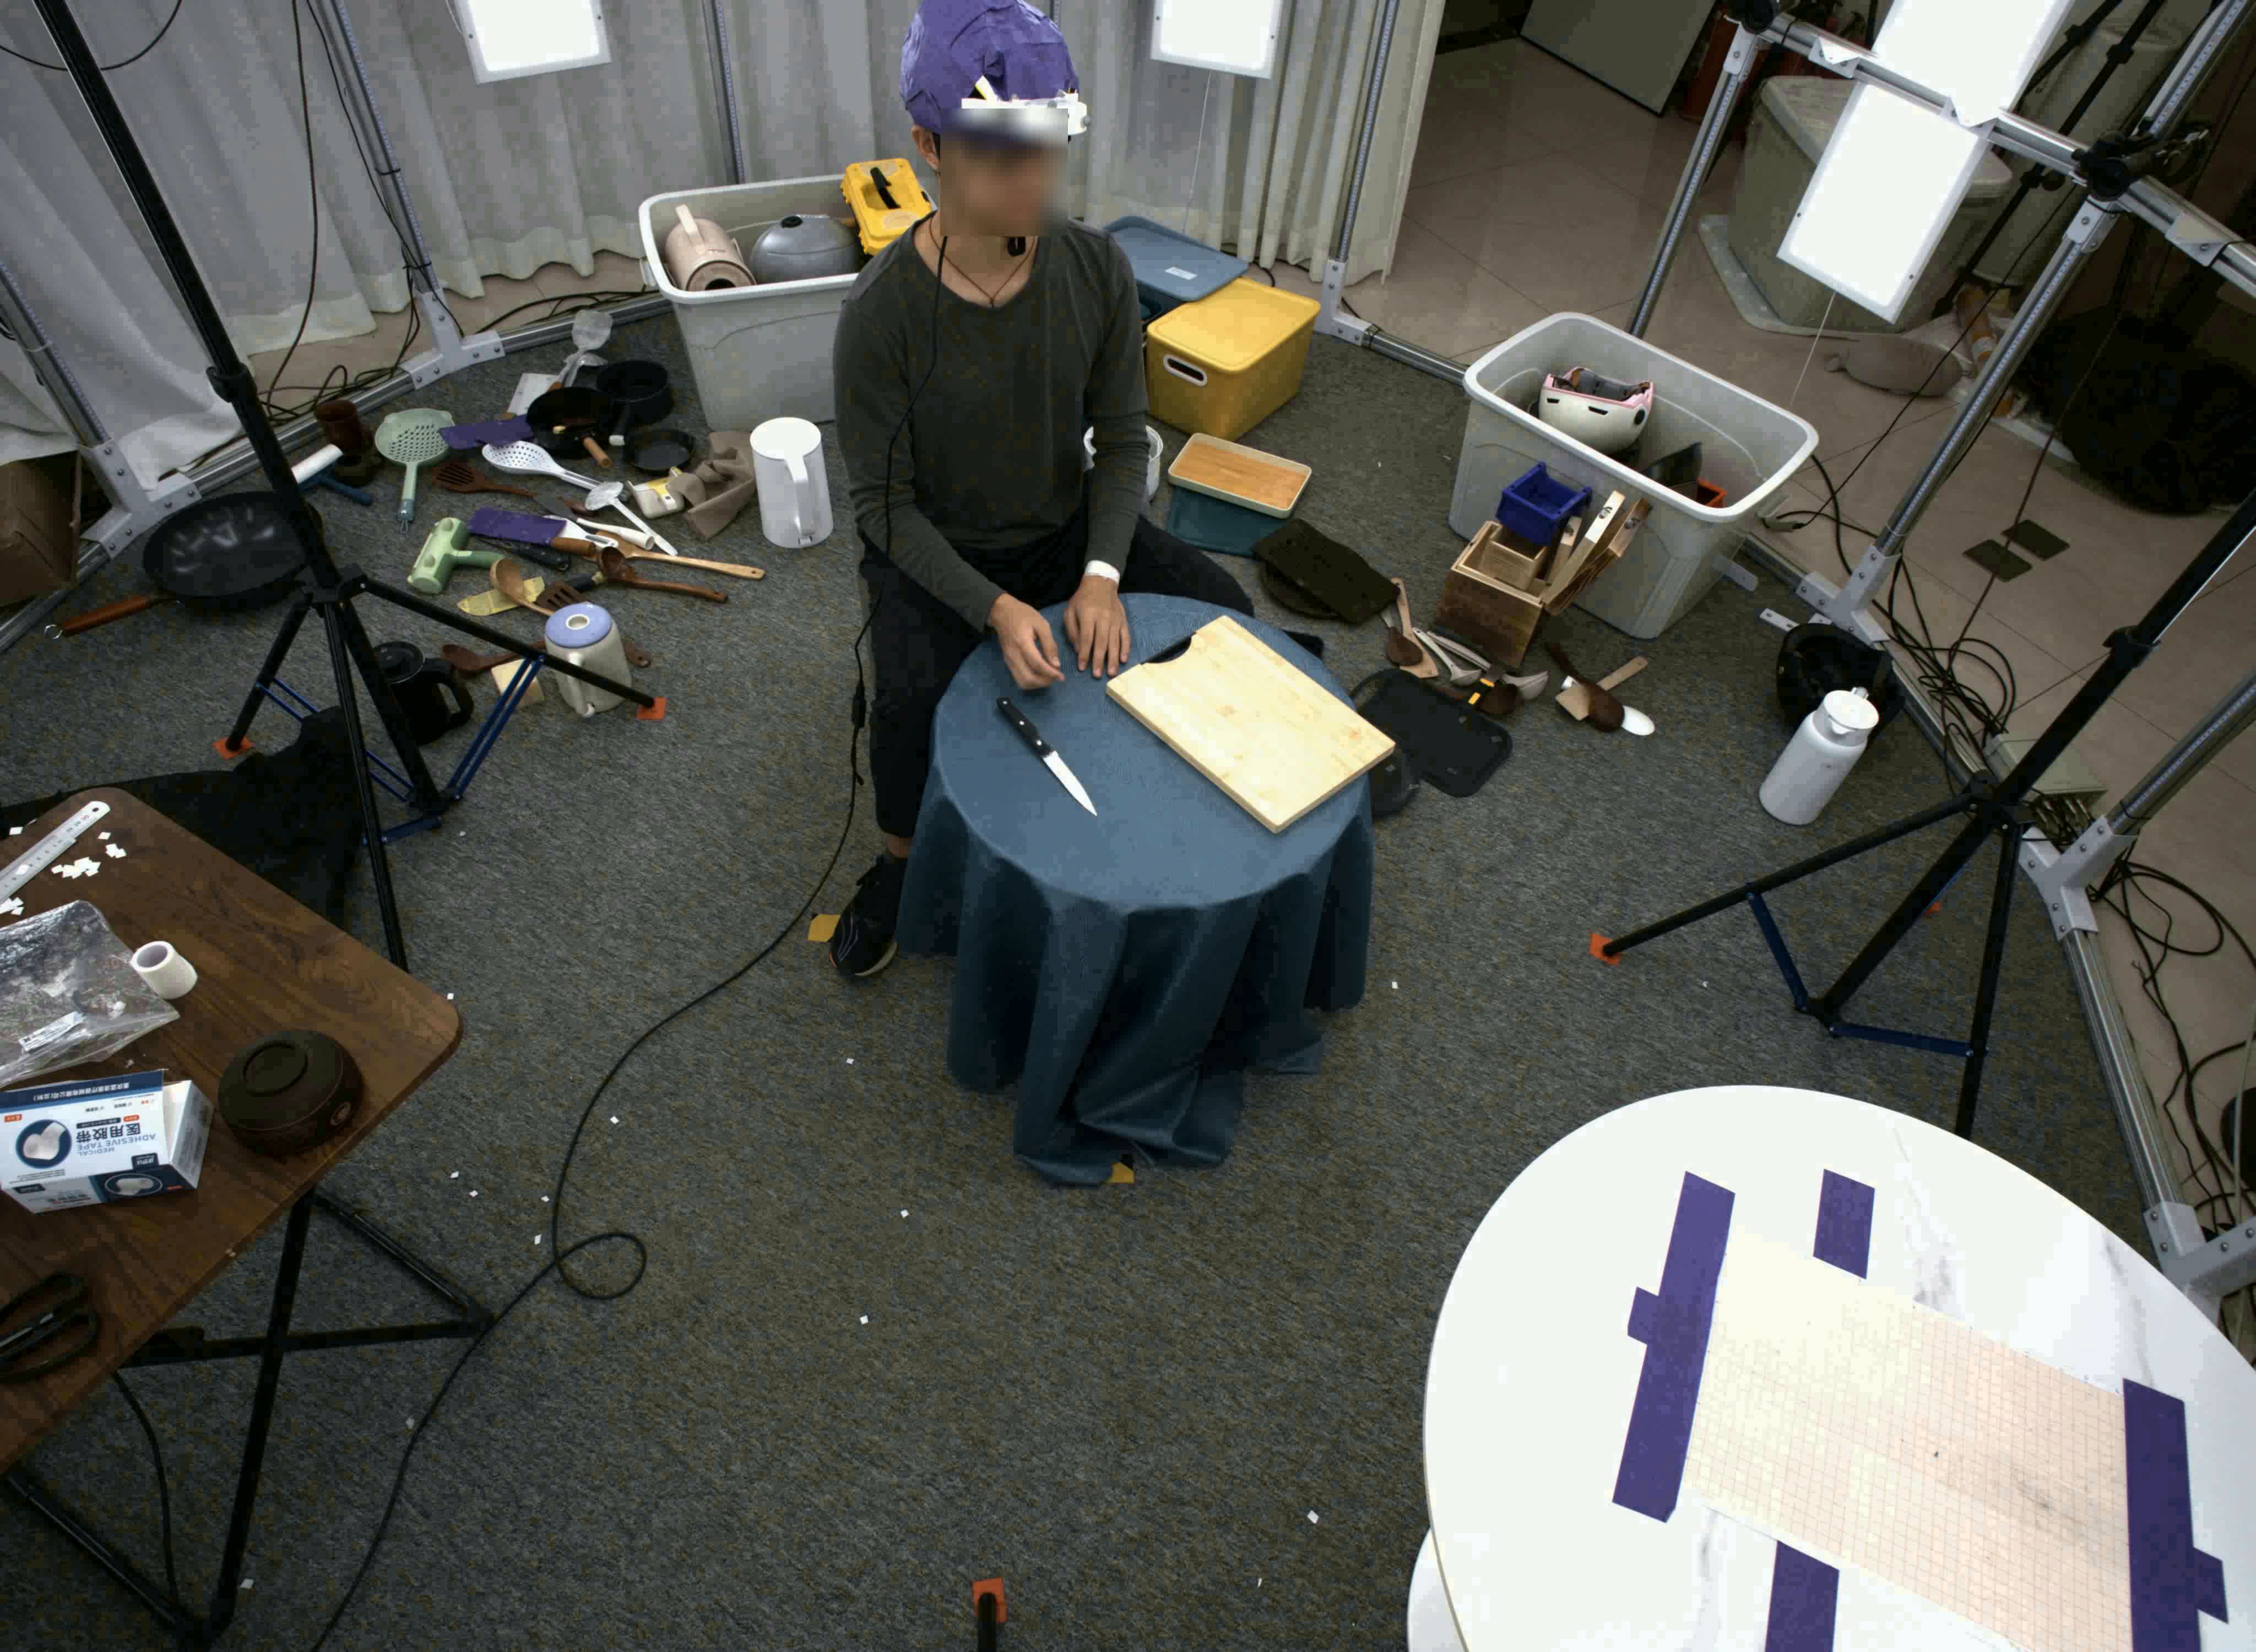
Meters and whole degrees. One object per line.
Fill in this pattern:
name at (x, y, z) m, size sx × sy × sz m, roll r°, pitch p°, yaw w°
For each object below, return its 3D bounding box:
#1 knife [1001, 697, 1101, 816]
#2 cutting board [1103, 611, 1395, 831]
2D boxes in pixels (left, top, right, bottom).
knife at (-0.107, -0.094, 1.734) m, size 0.024 × 0.016 × 0.242 m, roll -29°, pitch 60°, yaw -19°
cutting board at (0.167, -0.156, 1.804) m, size 0.252 × 0.023 × 0.354 m, roll -33°, pitch 59°, yaw -28°
